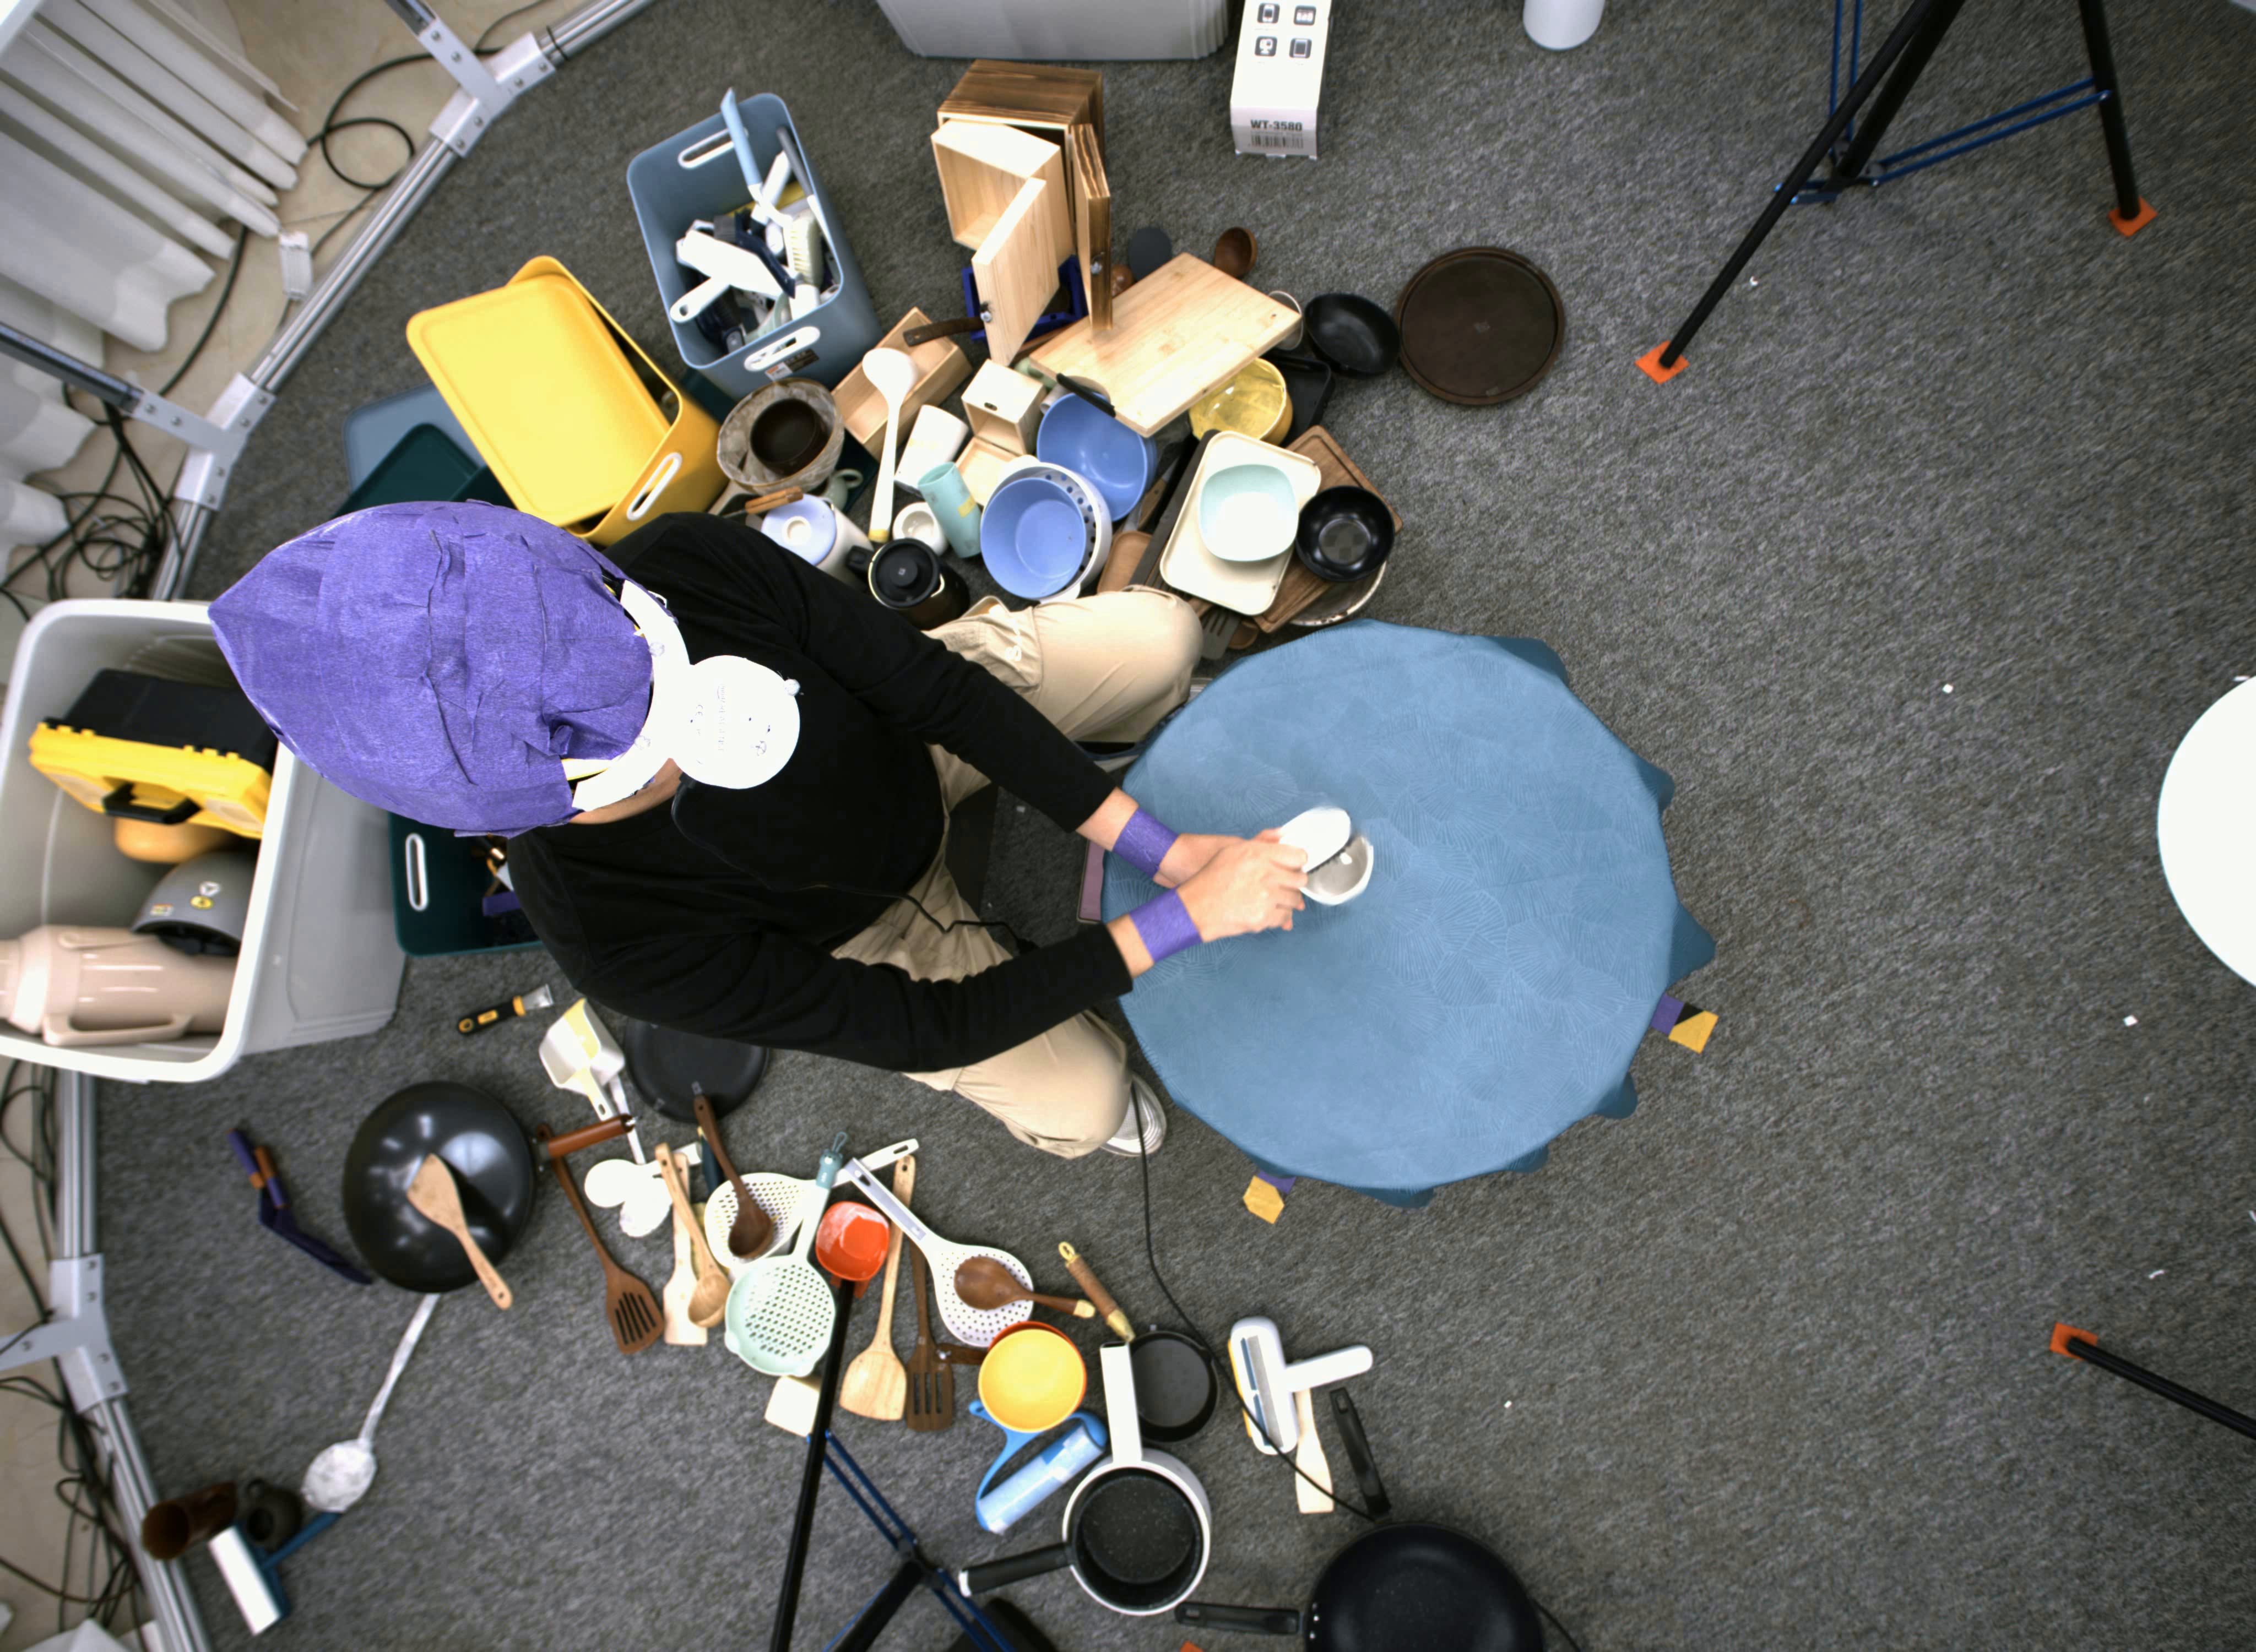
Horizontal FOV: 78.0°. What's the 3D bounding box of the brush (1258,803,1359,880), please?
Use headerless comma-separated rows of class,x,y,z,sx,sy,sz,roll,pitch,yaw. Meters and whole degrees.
brush,0.171,0.013,1.336,0.100,0.072,0.050,-32,74,14

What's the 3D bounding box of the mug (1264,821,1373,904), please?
mug,0.194,0.044,1.421,0.119,0.102,0.084,-31,81,7
